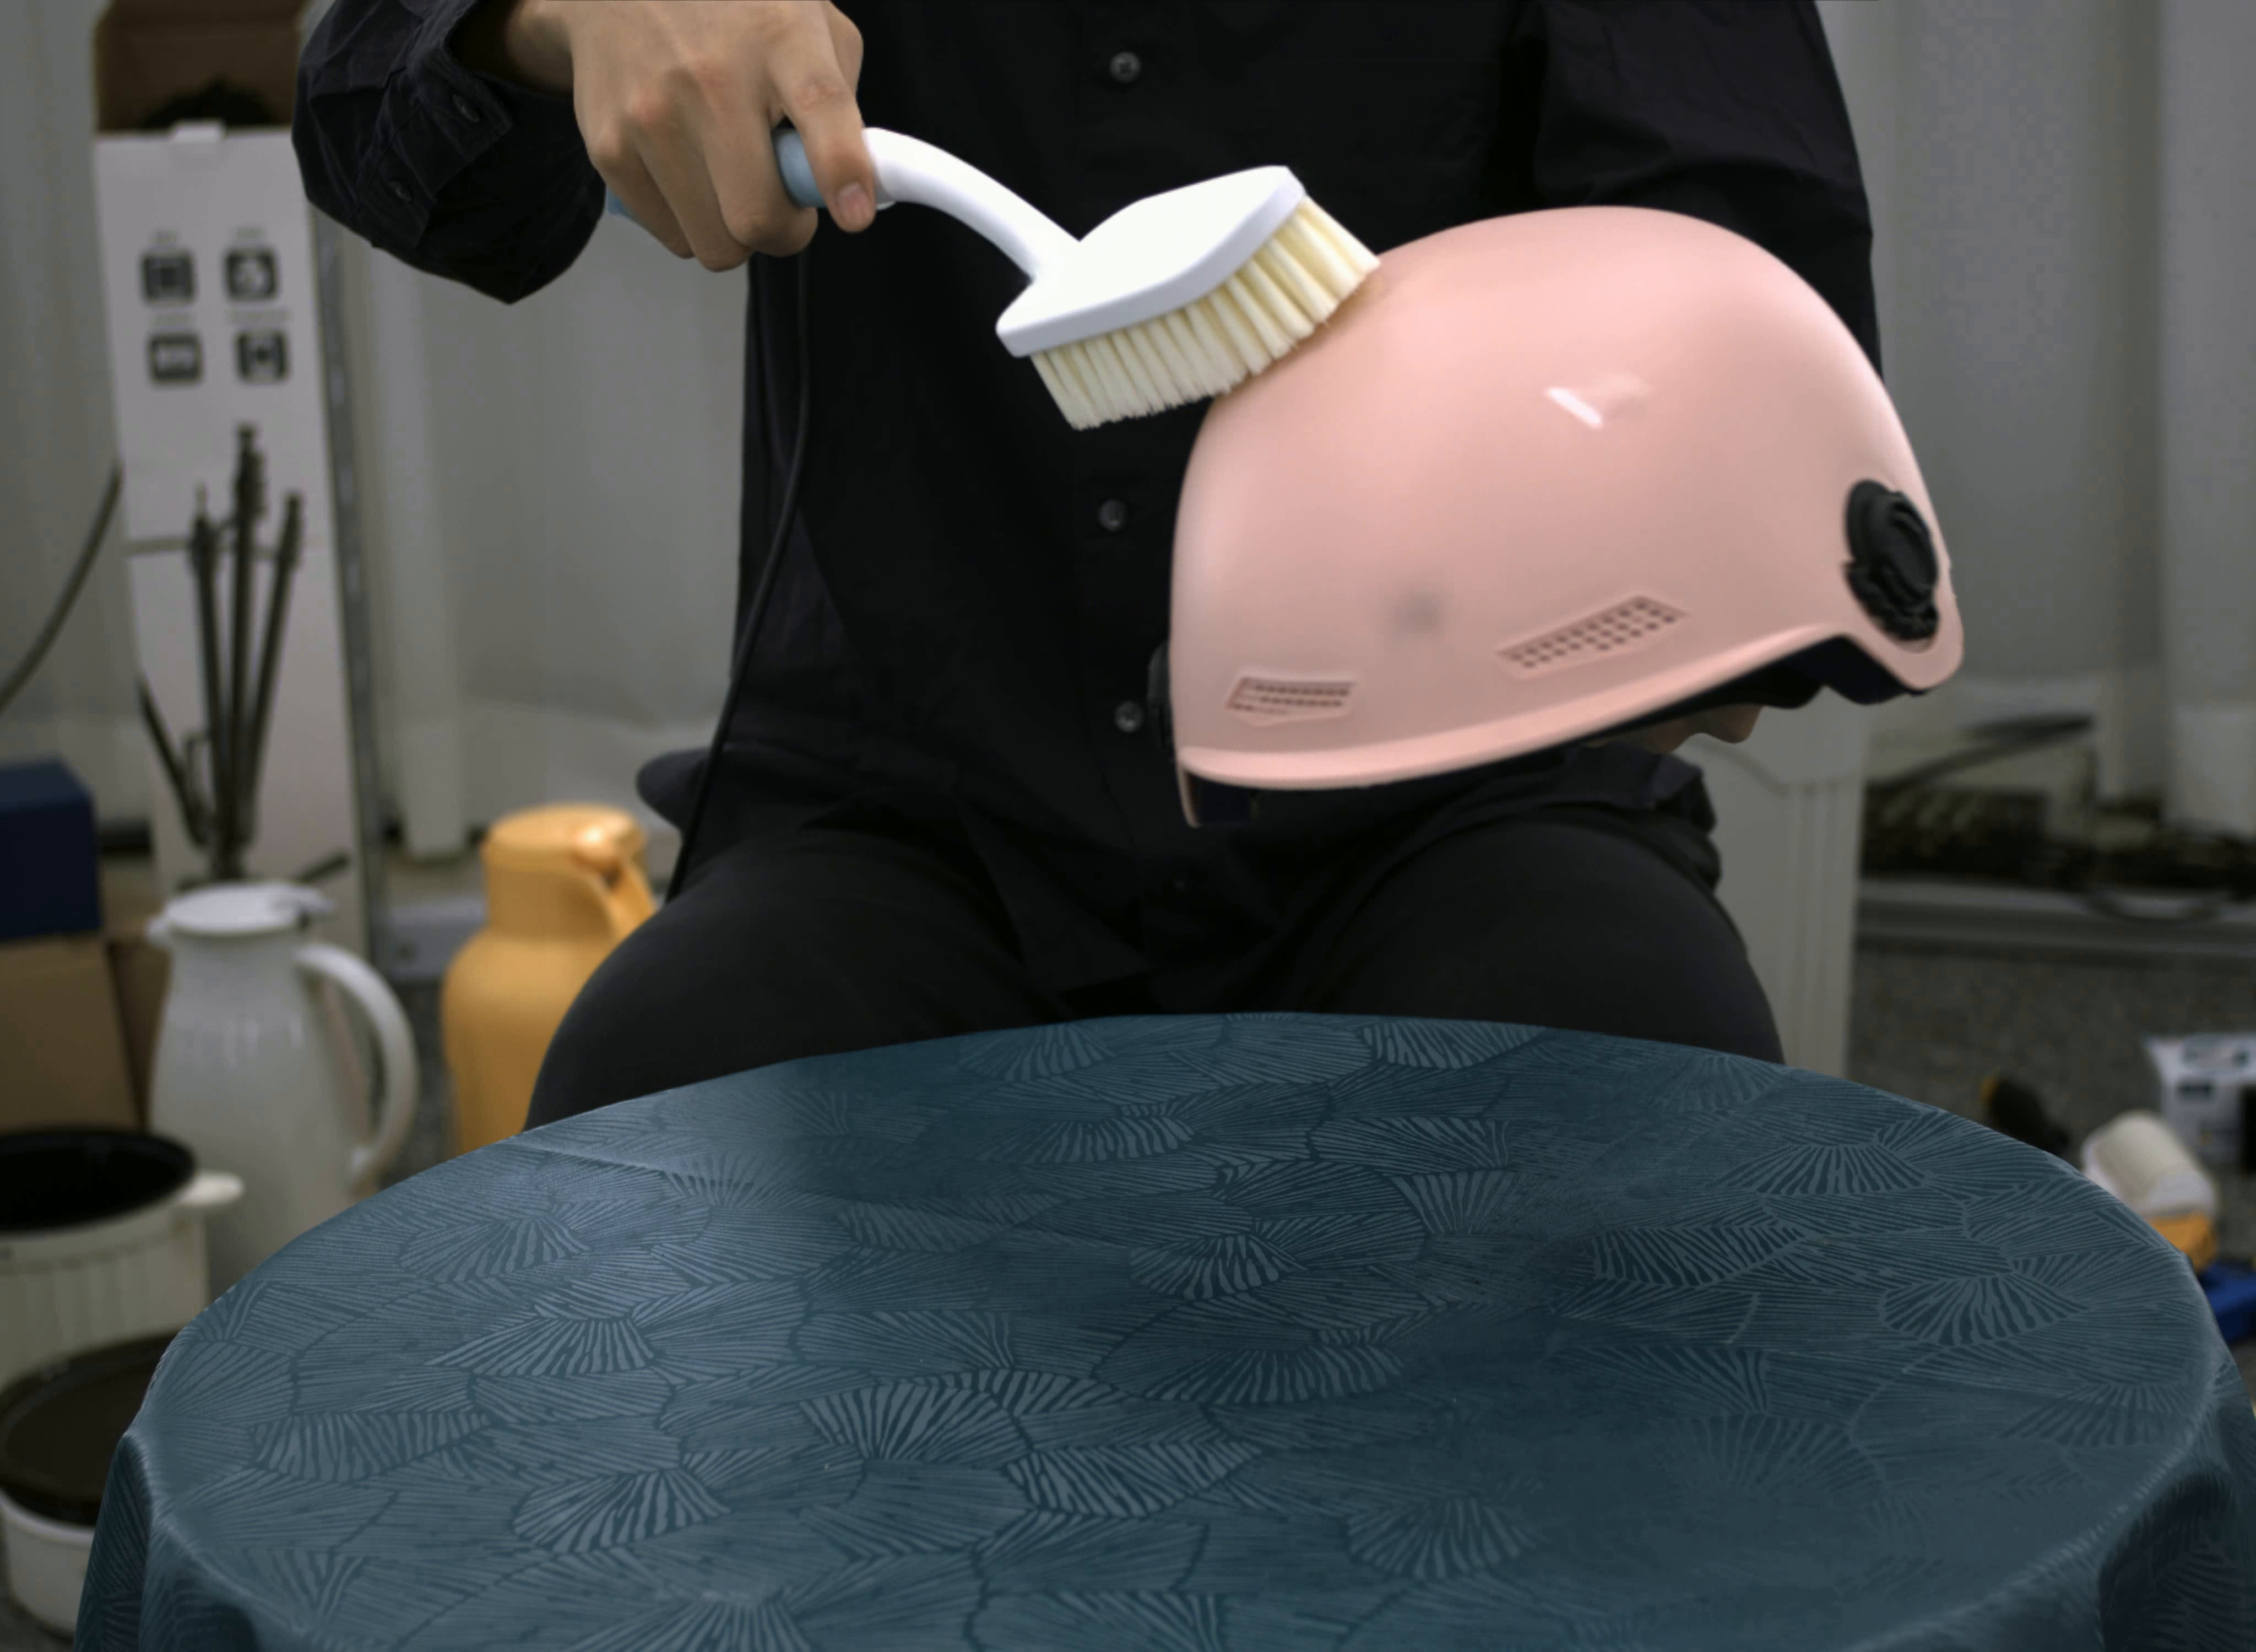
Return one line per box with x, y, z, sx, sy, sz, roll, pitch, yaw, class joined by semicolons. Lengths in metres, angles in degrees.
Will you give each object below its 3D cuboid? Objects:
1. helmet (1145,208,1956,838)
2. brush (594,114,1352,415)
0.112;-0.093;1.561;0.233;0.159;0.266;-11;5;22;helmet
-0.045;-0.167;1.640;0.082;0.084;0.327;1;5;-40;brush
